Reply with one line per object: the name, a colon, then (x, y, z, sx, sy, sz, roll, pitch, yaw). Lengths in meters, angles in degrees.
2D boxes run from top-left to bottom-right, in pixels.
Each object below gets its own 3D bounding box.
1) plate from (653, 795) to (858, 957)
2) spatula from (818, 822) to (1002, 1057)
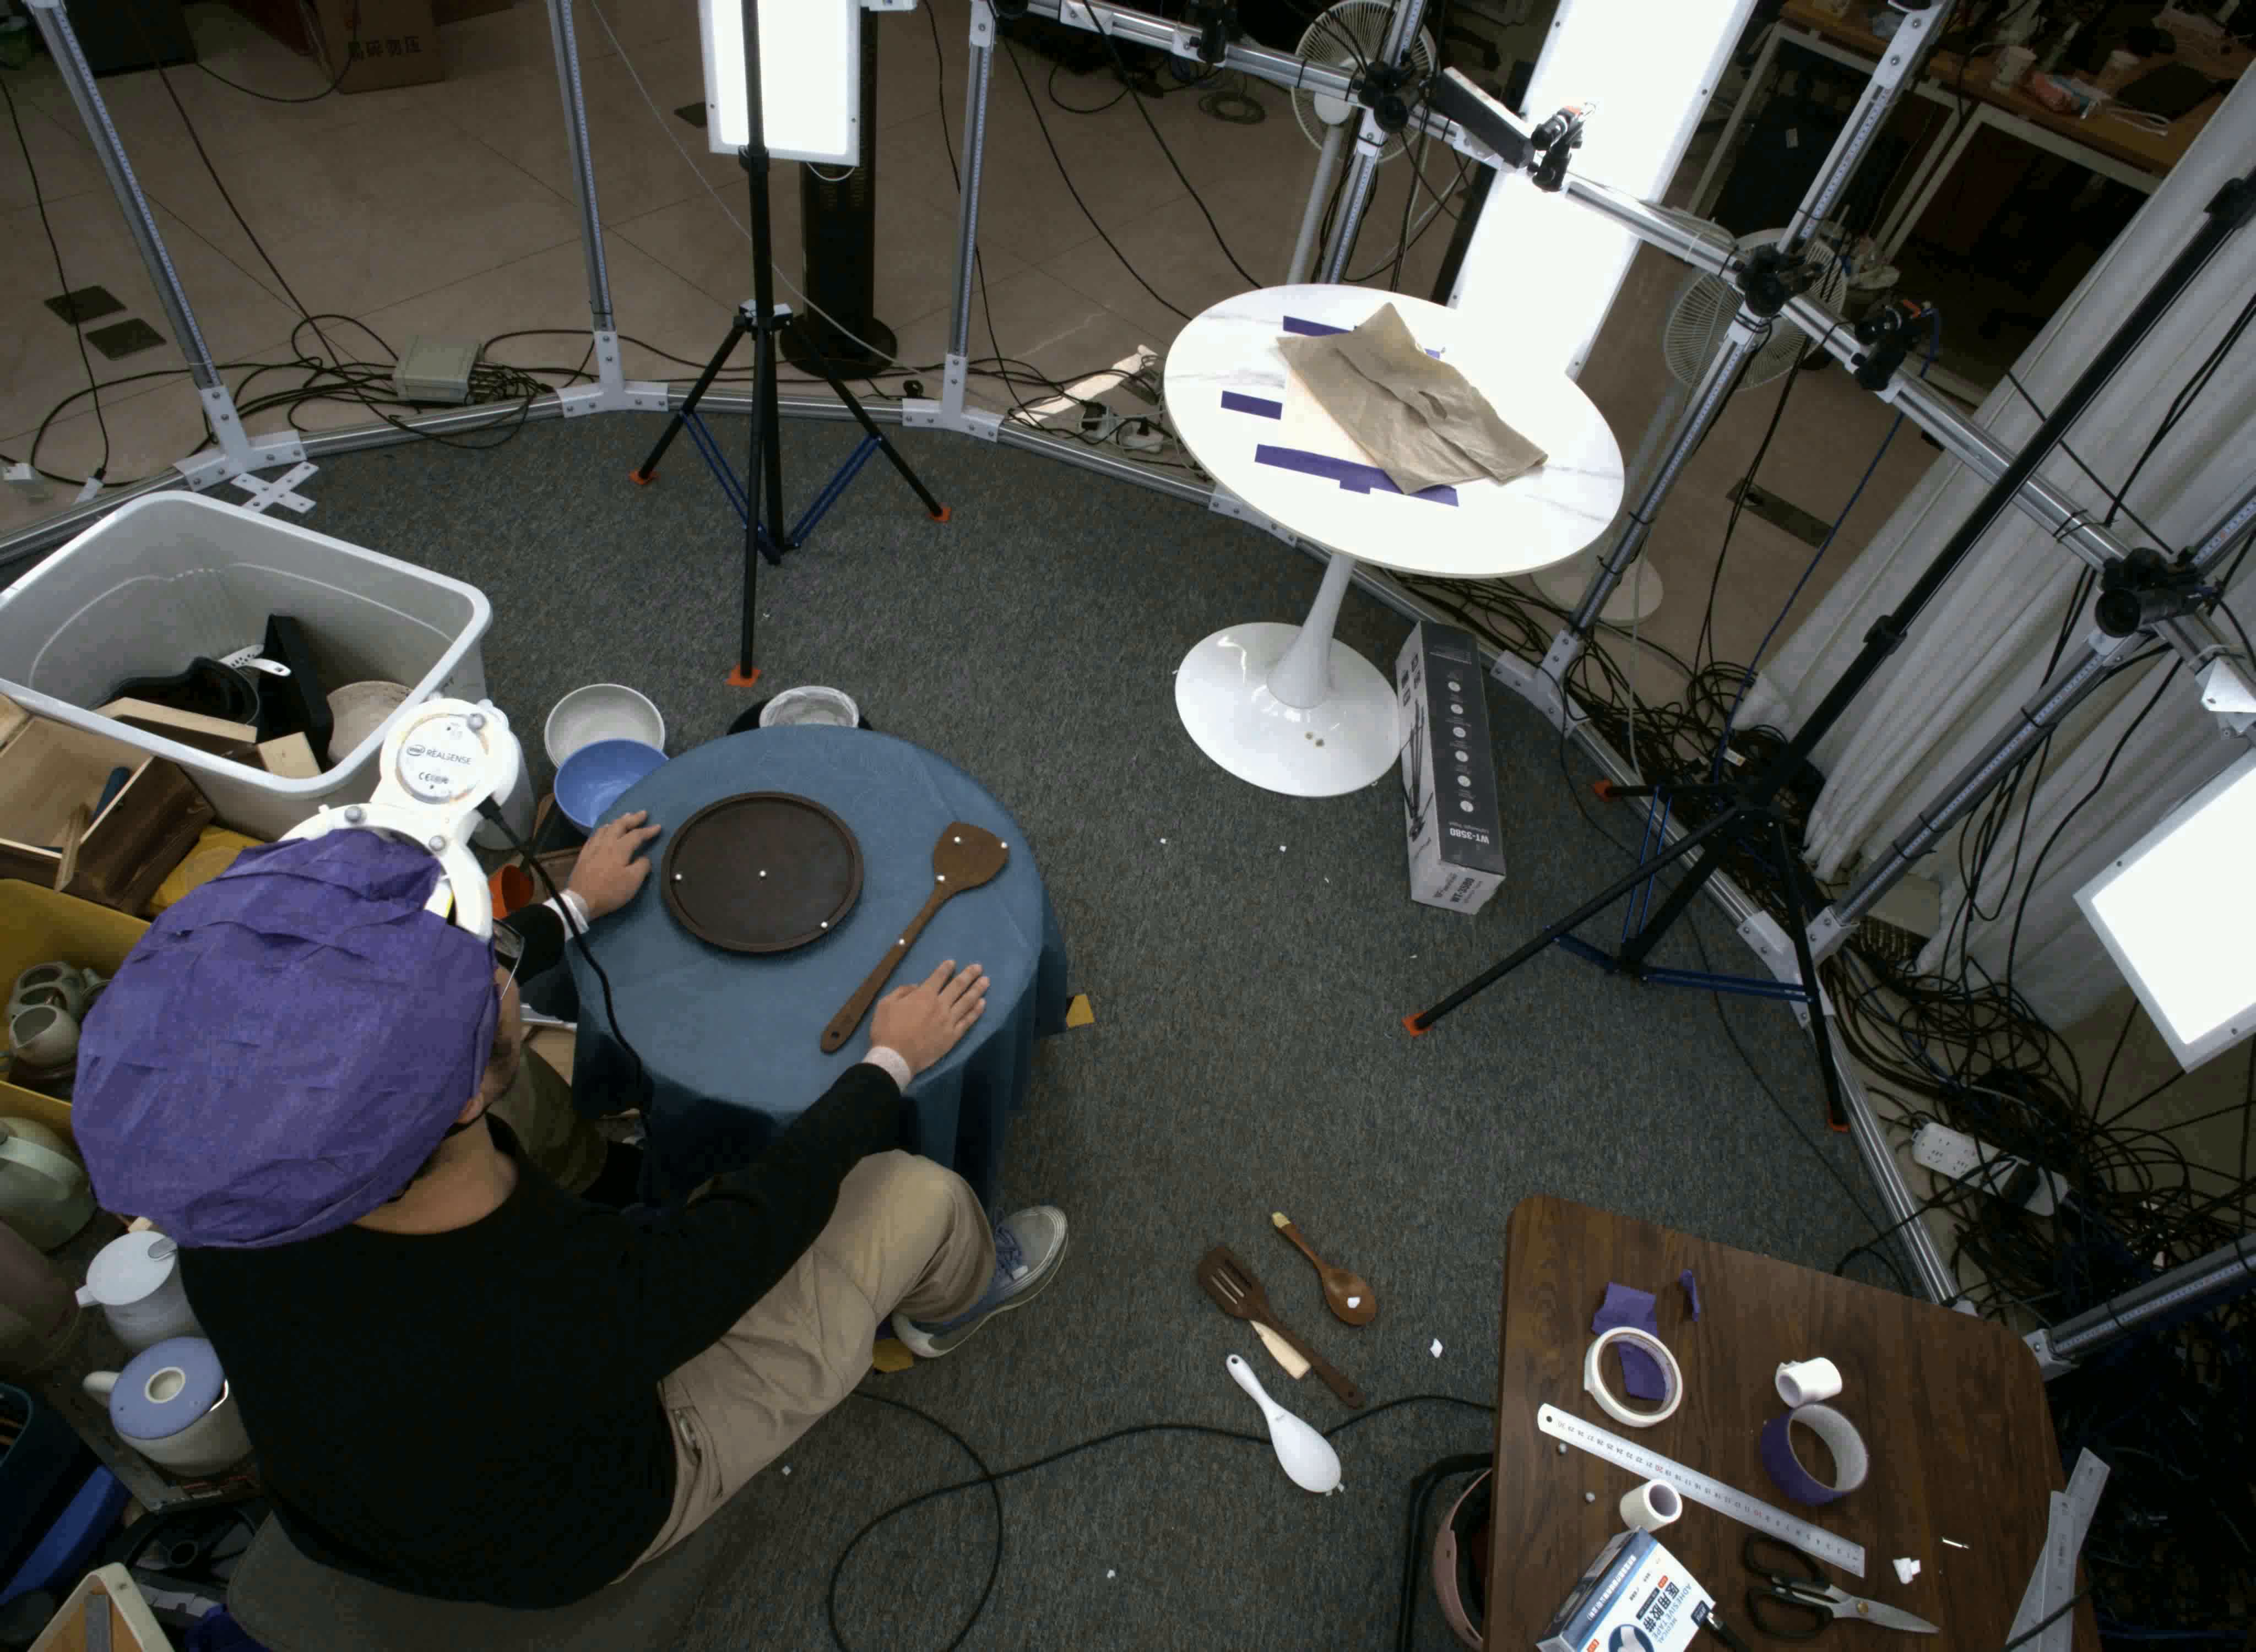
plate: (-0.472, 0.060, 1.647, 0.254, 0.029, 0.250, 9, 52, -10)
spatula: (-0.282, 0.136, 1.646, 0.095, 0.016, 0.383, 26, 52, 6)
